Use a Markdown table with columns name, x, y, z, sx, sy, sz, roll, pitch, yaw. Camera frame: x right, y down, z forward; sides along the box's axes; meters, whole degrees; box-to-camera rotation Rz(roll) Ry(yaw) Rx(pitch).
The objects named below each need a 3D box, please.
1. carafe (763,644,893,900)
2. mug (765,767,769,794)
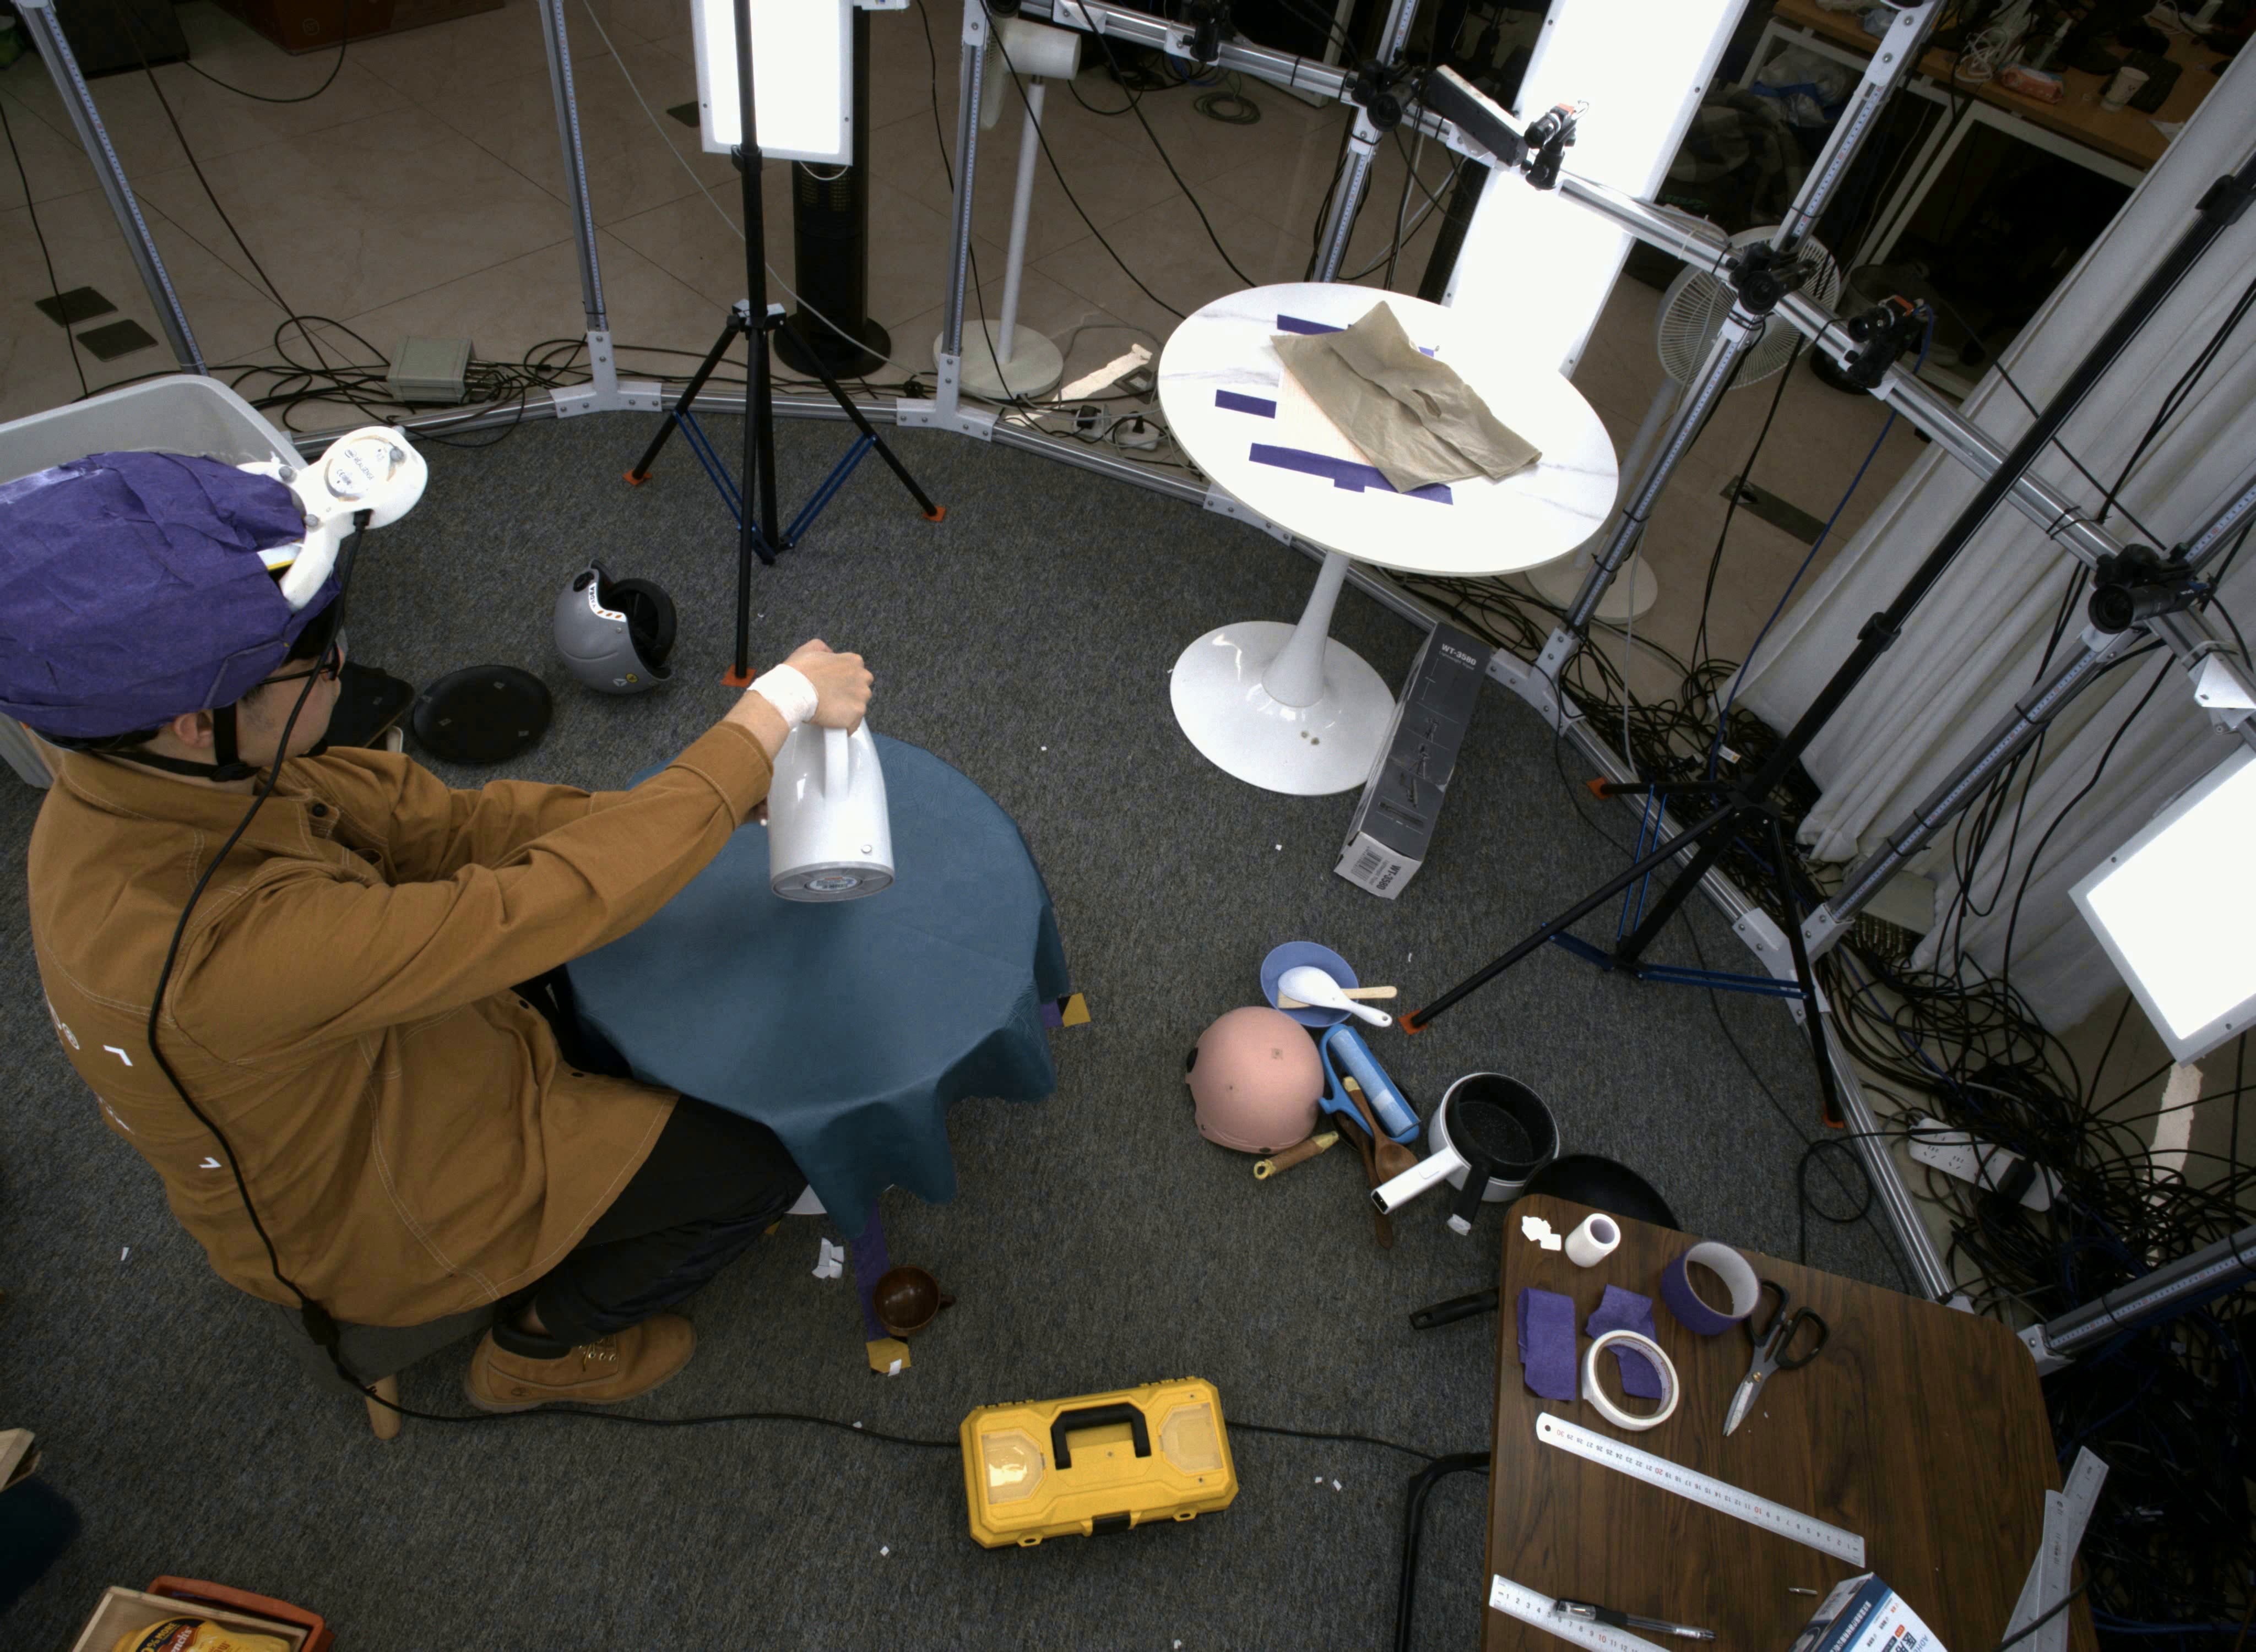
| name | x | y | z | sx | sy | sz | roll | pitch | yaw |
| --- | --- | --- | --- | --- | --- | --- | --- | --- | --- |
| carafe | -0.327 | -0.066 | 1.400 | 0.133 | 0.167 | 0.247 | -2 | 73 | -22 |
| mug | -0.391 | -0.072 | 1.575 | 0.083 | 0.104 | 0.118 | 39 | 49 | 15 |
